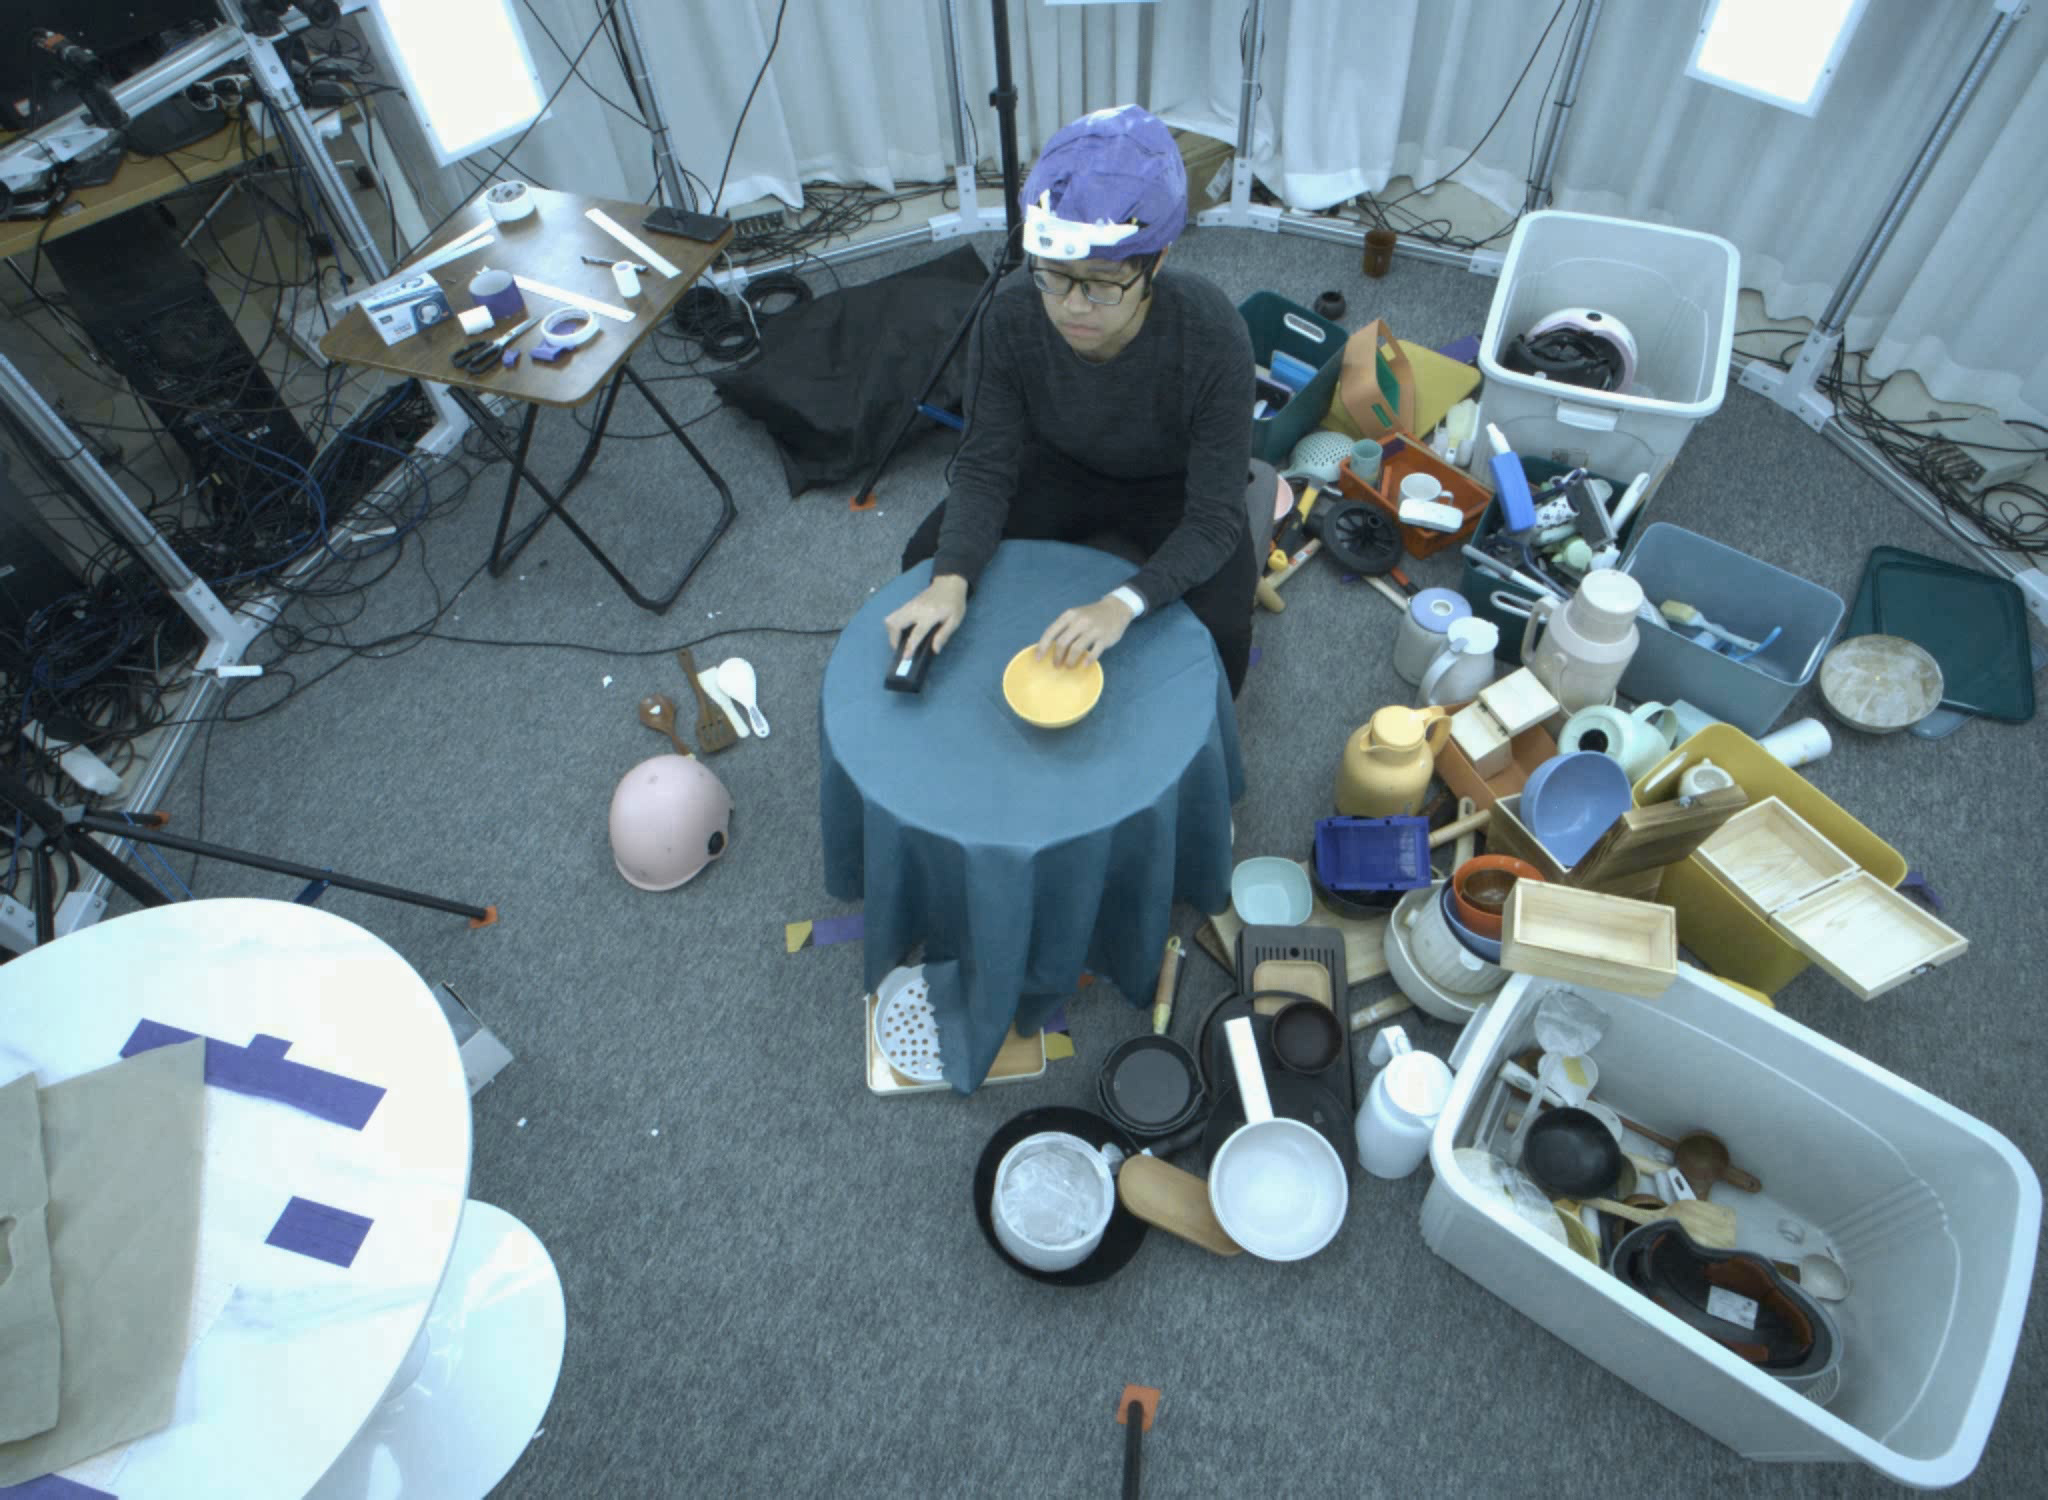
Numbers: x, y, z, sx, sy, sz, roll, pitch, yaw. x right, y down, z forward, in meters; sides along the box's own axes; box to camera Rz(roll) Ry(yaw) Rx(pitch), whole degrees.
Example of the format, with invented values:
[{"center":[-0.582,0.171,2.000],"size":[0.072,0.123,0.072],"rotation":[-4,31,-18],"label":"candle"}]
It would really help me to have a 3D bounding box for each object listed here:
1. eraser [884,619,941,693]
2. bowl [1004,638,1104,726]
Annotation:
[{"center":[-0.167,-0.143,1.845],"size":[0.053,0.031,0.125],"rotation":[5,55,15],"label":"eraser"},{"center":[0.044,-0.088,1.789],"size":[0.145,0.061,0.144],"rotation":[-1,59,2],"label":"bowl"}]
